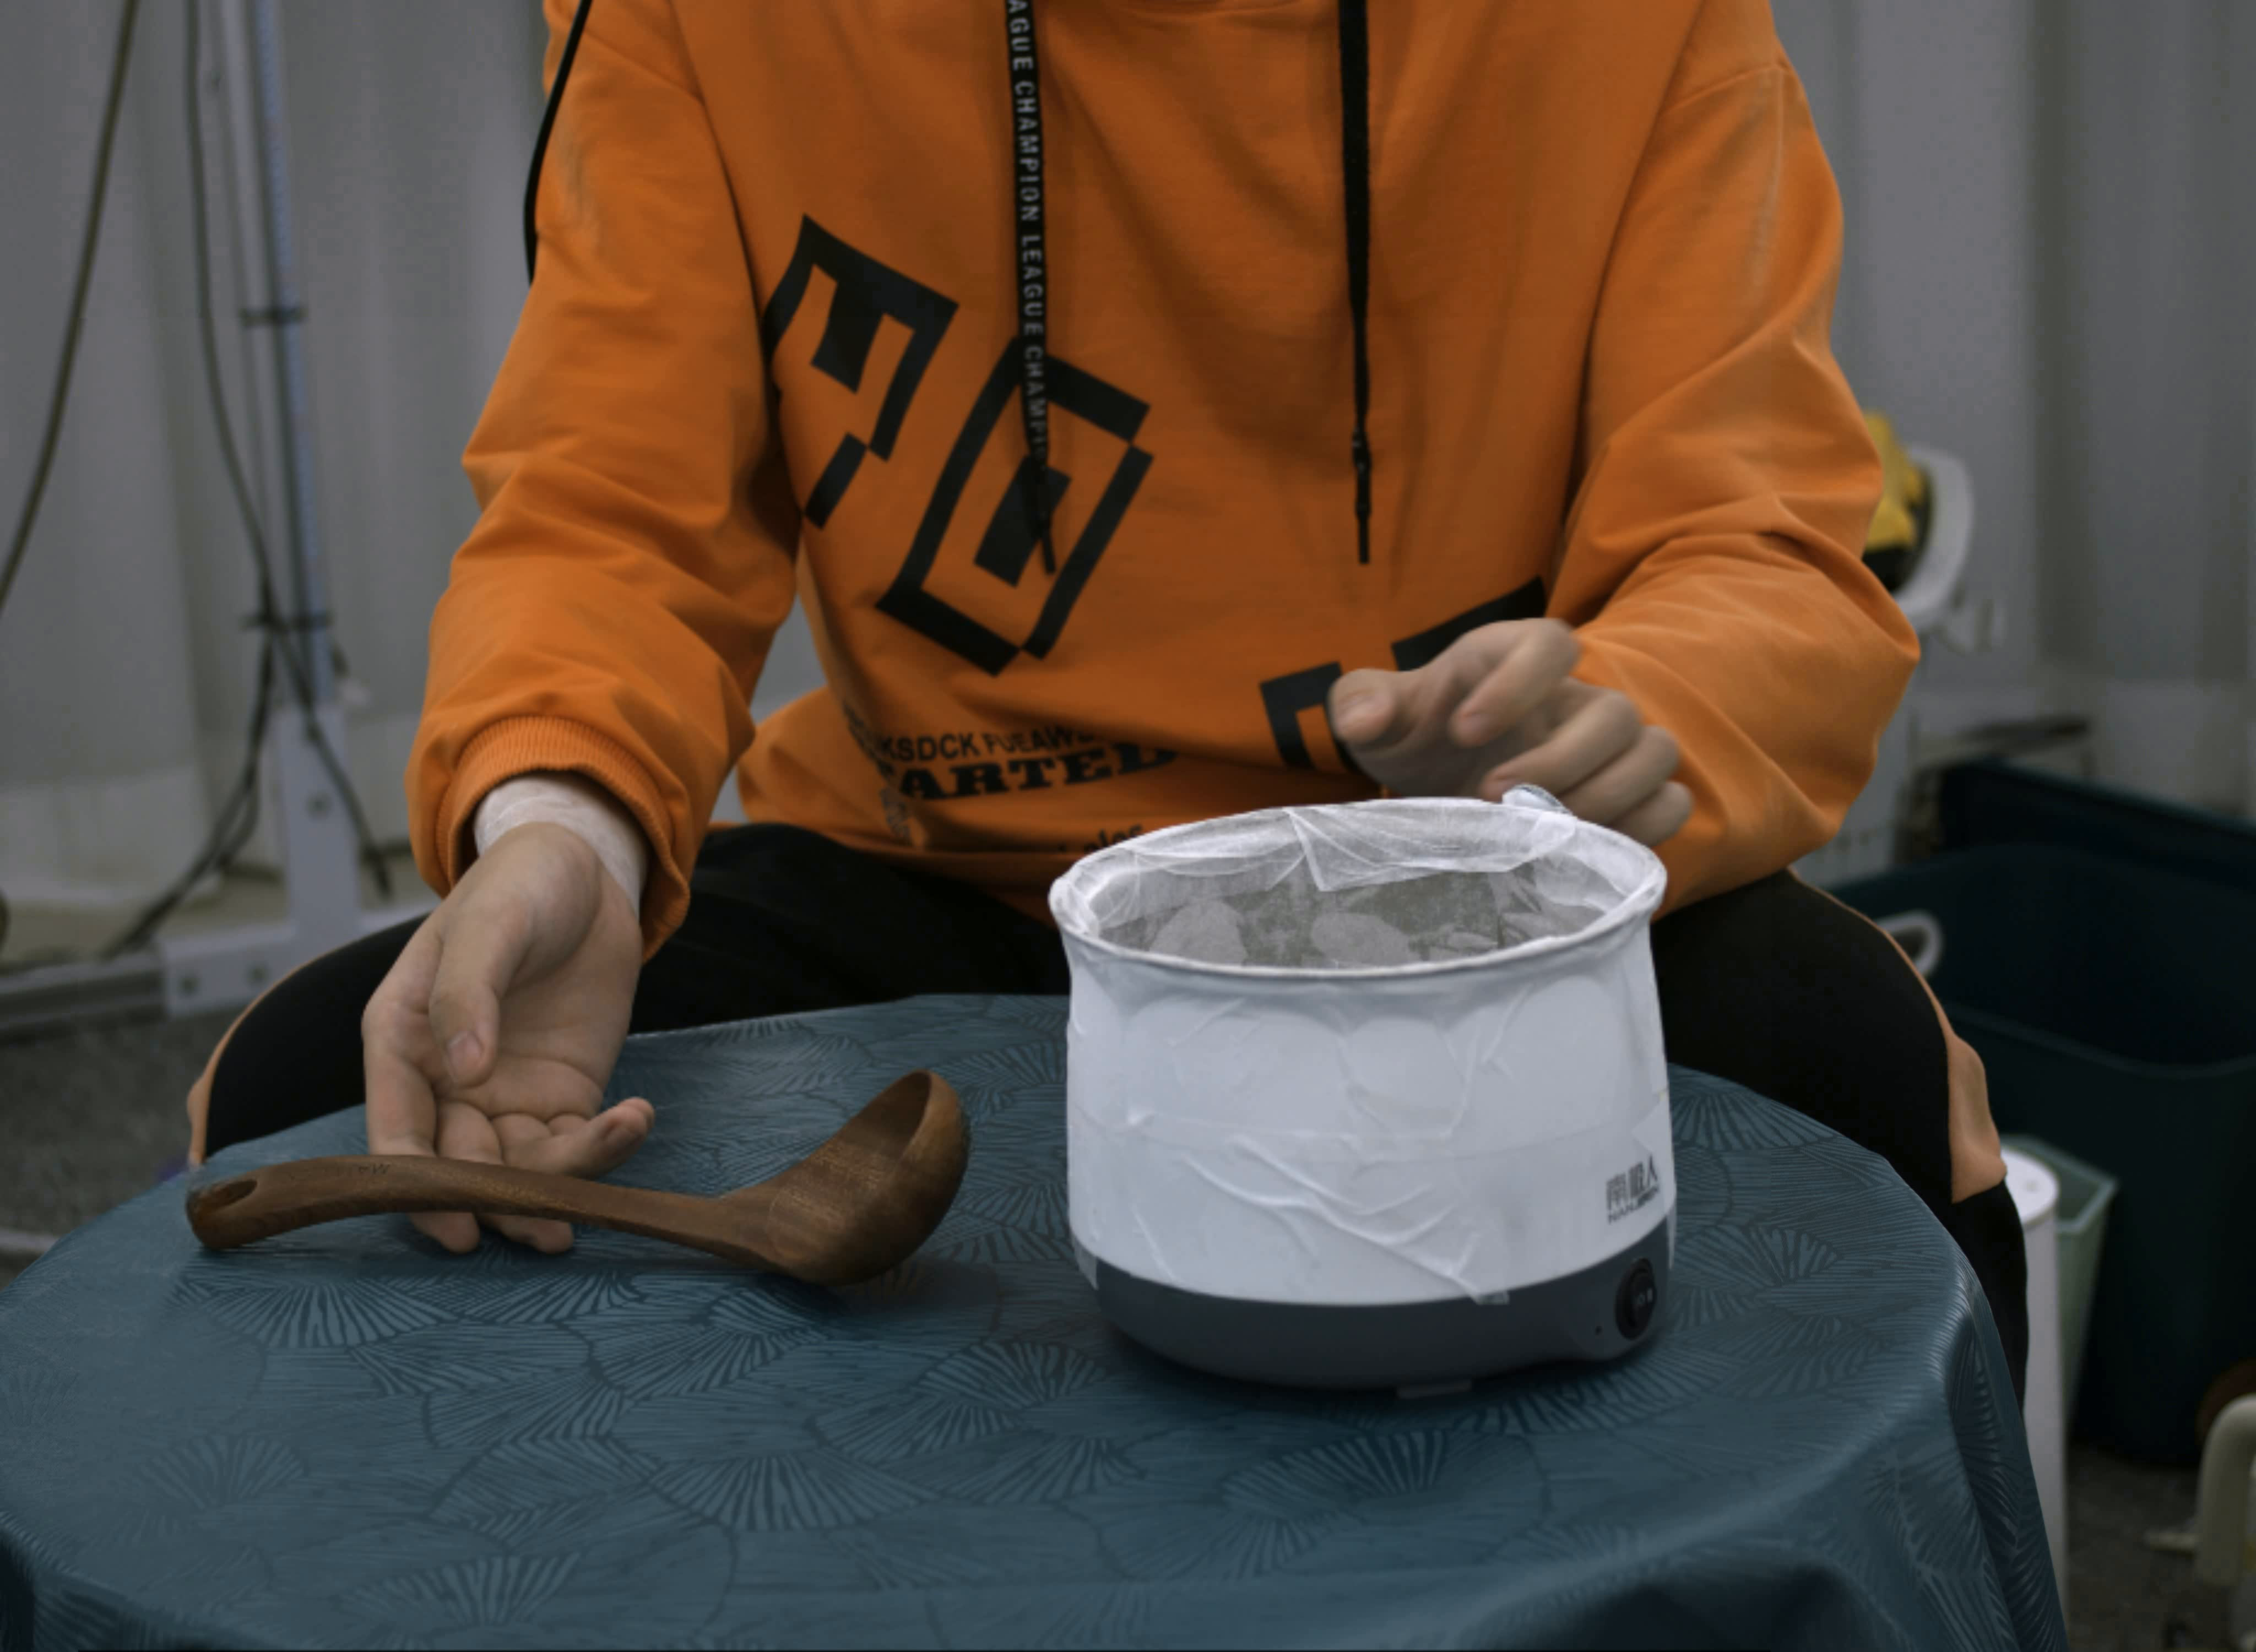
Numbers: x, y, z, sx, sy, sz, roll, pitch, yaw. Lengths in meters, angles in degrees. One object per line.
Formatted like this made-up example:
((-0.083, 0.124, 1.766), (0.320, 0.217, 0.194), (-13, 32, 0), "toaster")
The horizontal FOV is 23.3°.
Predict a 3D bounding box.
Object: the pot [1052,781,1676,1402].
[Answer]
((0.084, 0.070, 1.601), (0.179, 0.136, 0.234), (7, 18, 31), "pot")

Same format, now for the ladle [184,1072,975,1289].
((-0.171, 0.105, 1.665), (0.260, 0.064, 0.077), (2, 30, 15), "ladle")
